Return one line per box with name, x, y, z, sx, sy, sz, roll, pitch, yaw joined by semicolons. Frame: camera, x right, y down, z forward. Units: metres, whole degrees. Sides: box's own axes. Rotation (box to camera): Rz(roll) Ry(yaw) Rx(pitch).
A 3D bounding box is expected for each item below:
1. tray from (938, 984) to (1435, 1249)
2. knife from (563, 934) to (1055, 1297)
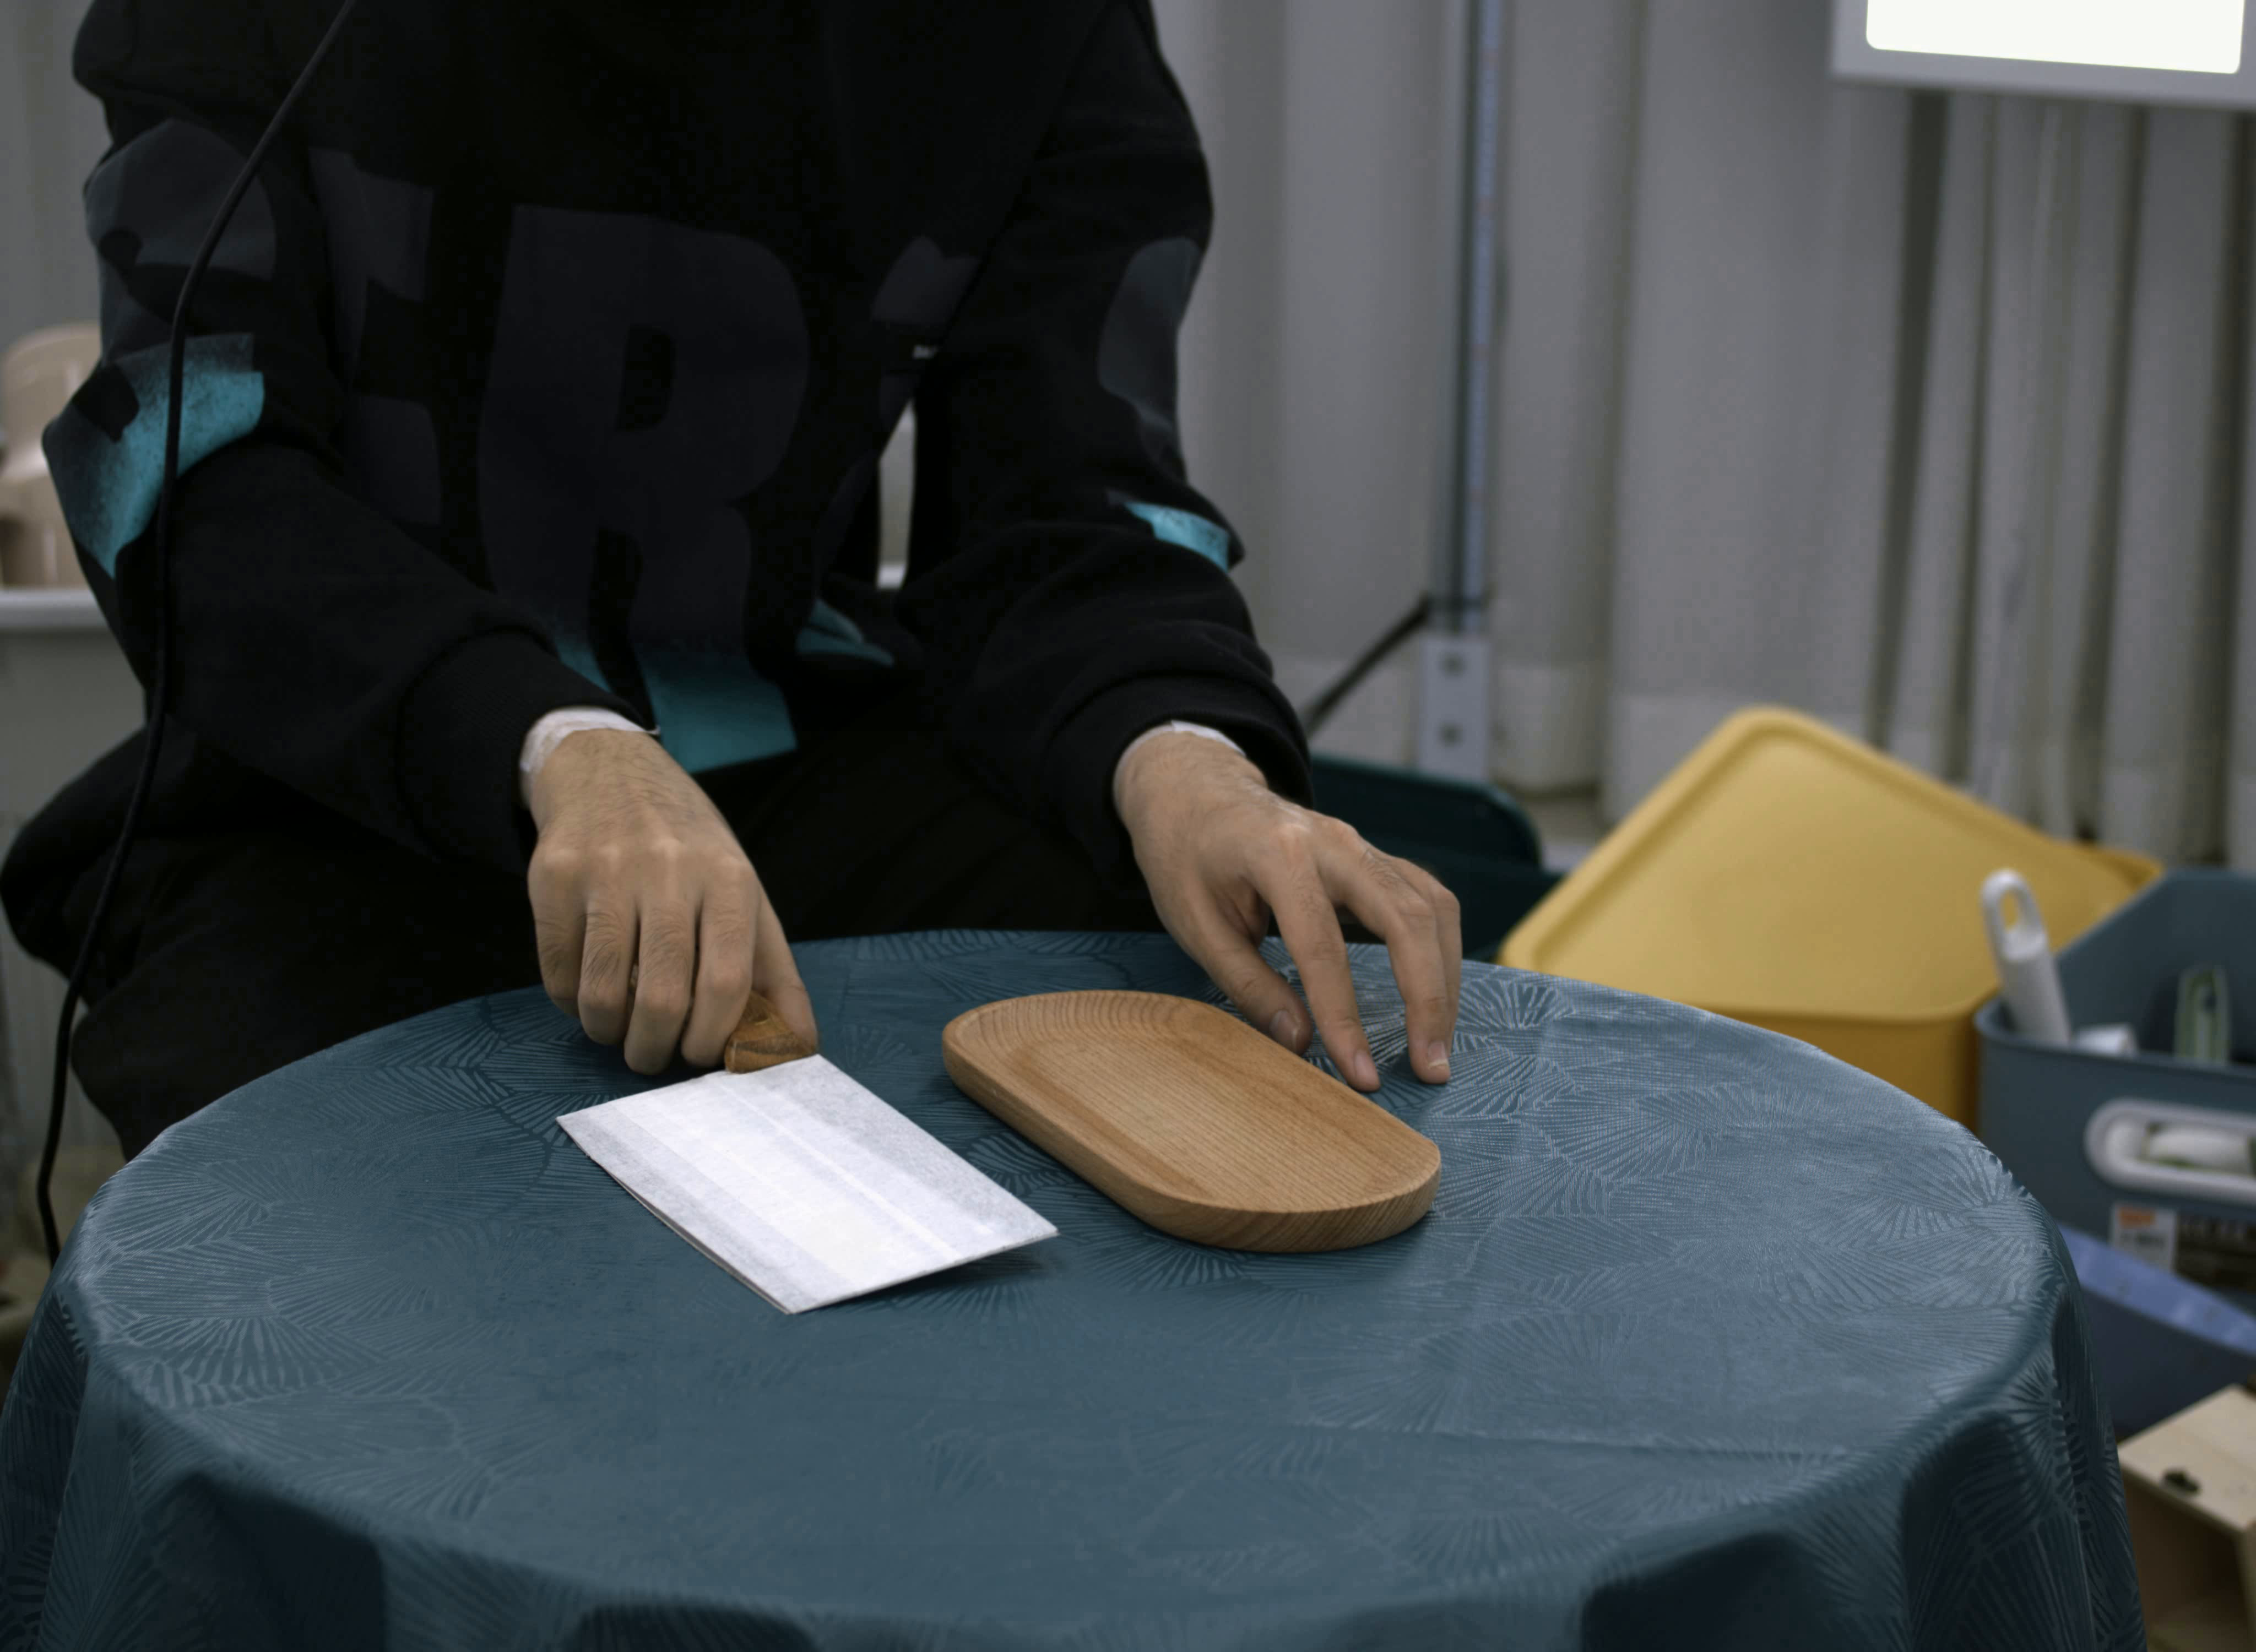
tray;0.016;0.090;1.671;0.102;0.020;0.228;-6;16;-25
knife;-0.125;0.091;1.663;0.093;0.021;0.302;-16;22;-23
